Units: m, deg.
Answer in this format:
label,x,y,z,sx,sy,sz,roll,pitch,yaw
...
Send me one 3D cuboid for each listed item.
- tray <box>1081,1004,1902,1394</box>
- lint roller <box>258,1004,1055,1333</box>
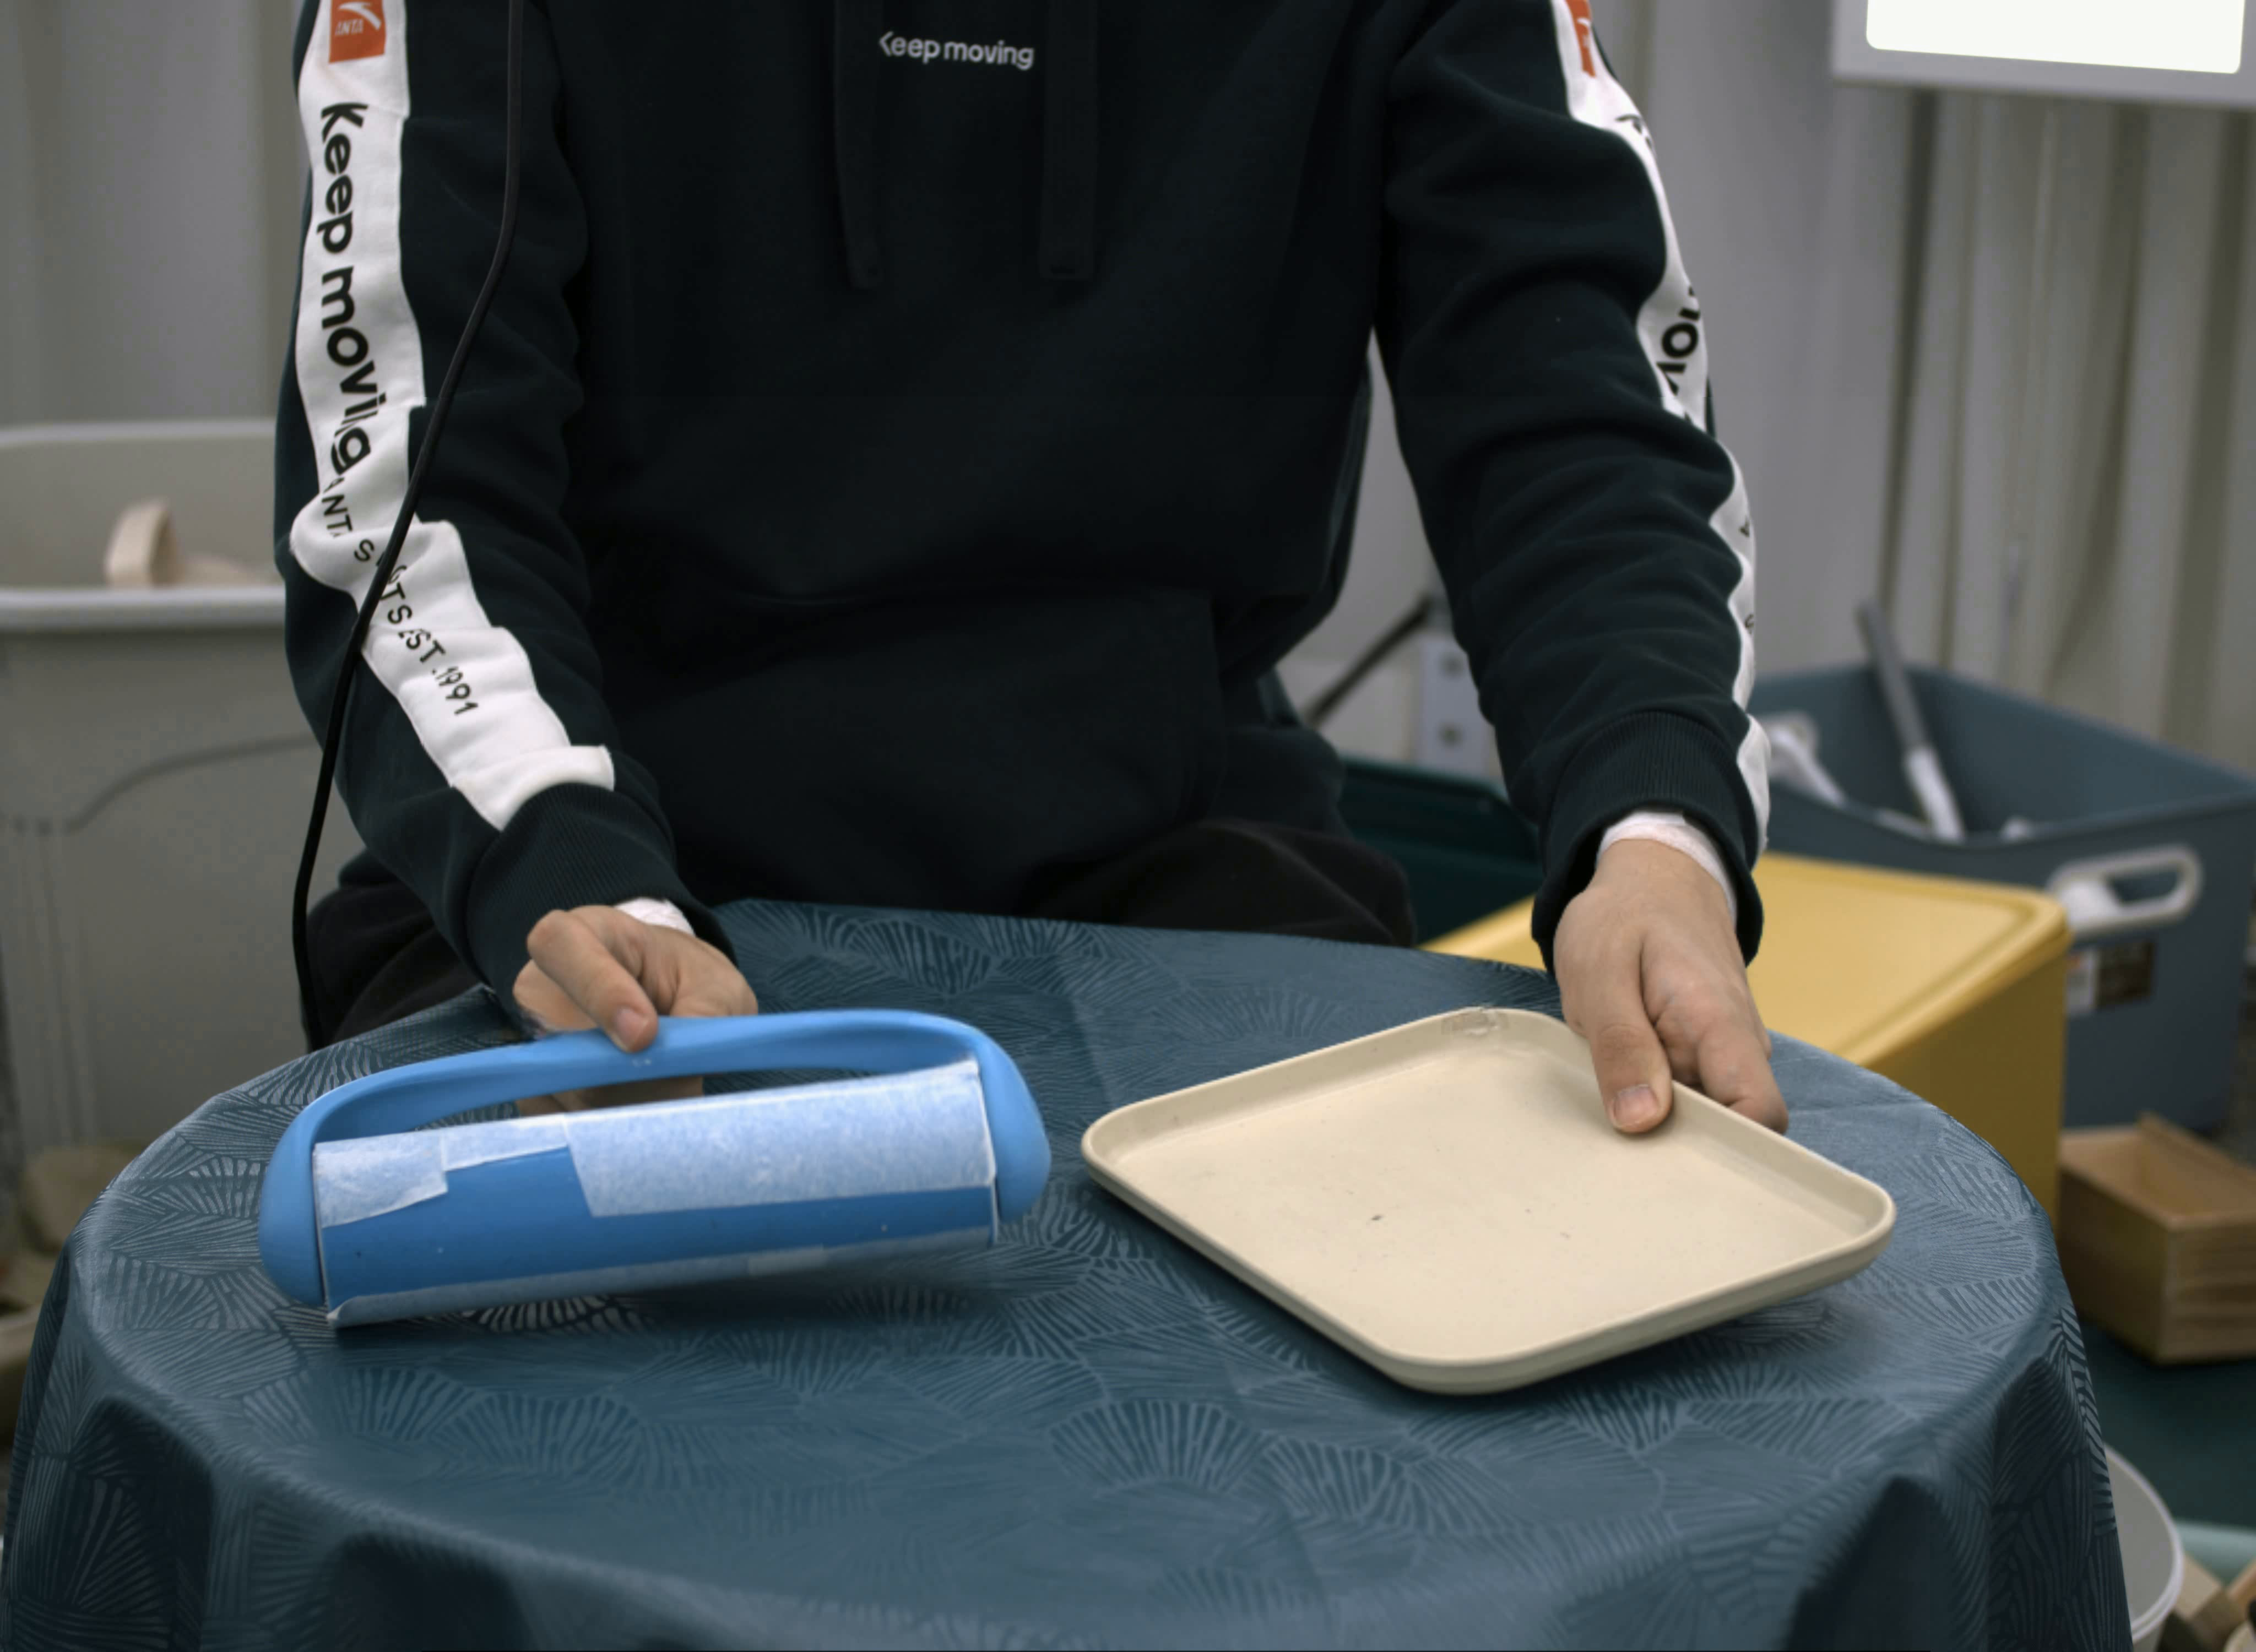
label,x,y,z,sx,sy,sz,roll,pitch,yaw
tray,0.104,0.109,1.568,0.171,0.017,0.236,-16,21,-24
lint roller,-0.144,0.088,1.562,0.229,0.068,0.179,-9,17,-8
